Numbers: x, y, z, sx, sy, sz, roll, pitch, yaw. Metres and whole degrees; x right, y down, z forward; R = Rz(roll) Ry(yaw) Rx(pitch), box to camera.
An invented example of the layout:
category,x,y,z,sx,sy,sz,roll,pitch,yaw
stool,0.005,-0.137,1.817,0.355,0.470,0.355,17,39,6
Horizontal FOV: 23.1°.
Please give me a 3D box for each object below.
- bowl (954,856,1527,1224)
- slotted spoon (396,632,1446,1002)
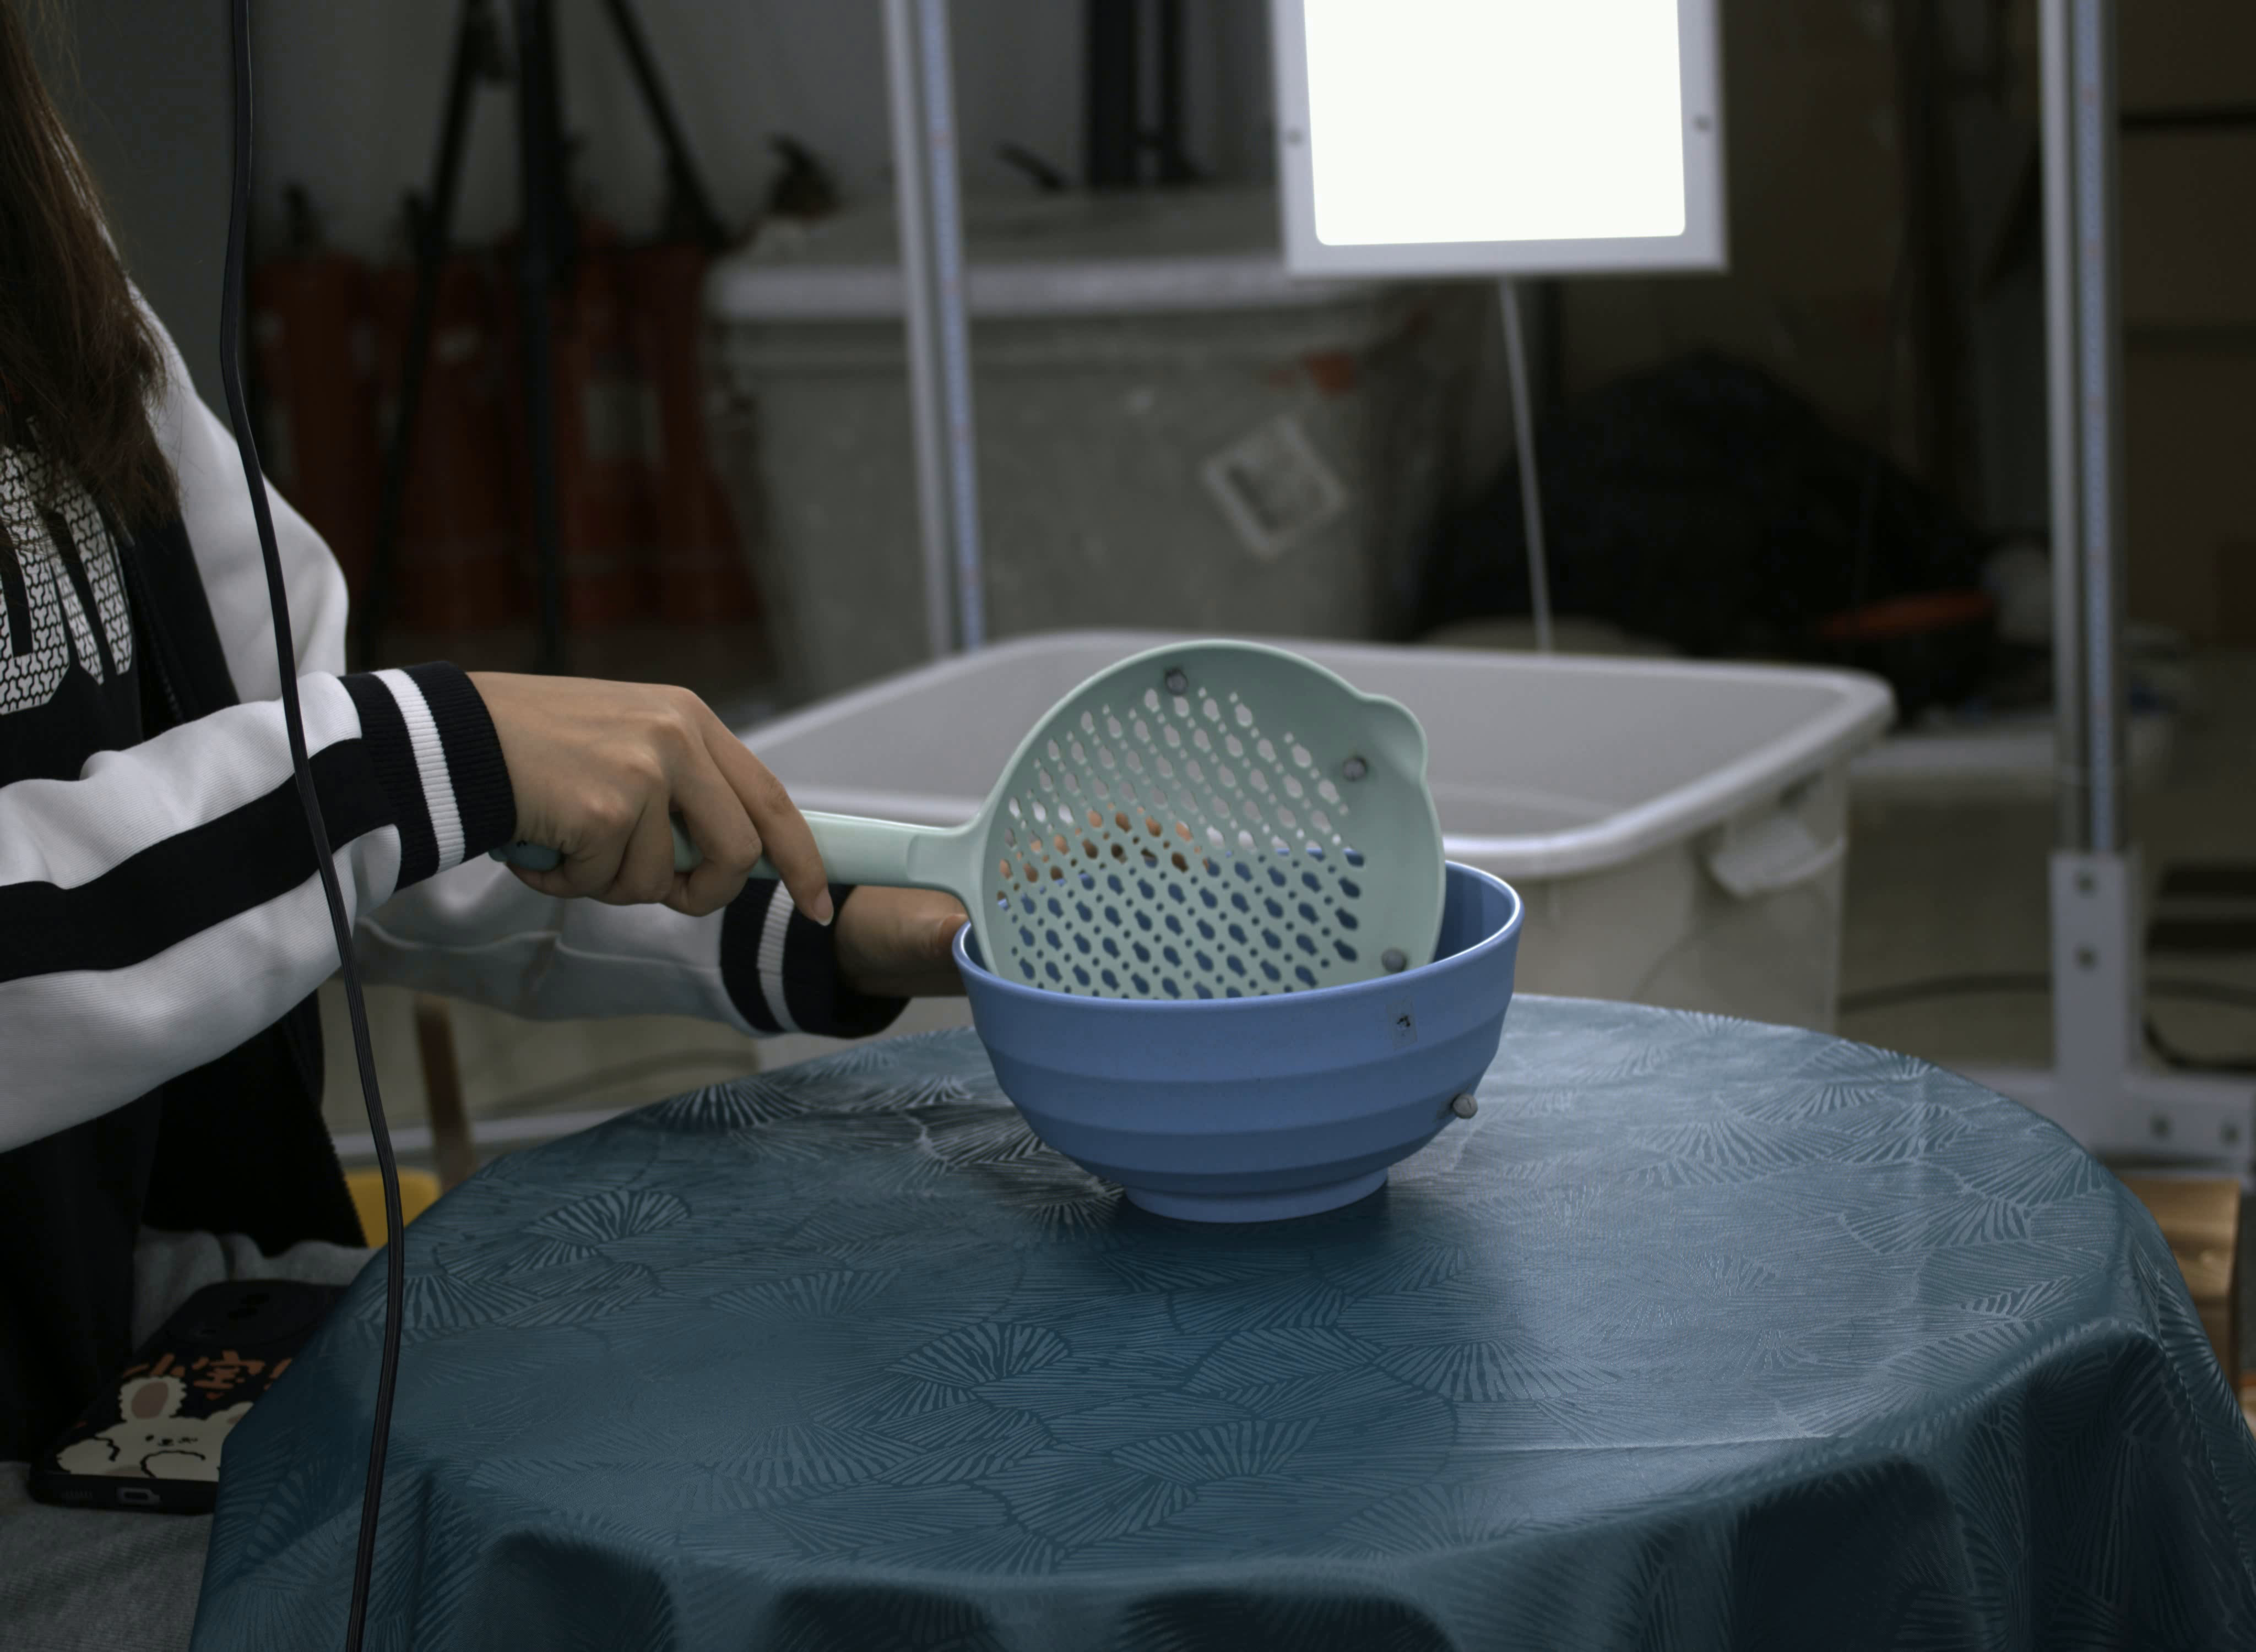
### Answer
category,x,y,z,sx,sy,sz,roll,pitch,yaw
bowl,0.042,0.077,1.884,0.196,0.096,0.196,-5,14,0
slotted spoon,-0.066,0.008,1.864,0.352,0.170,0.076,6,1,-23
